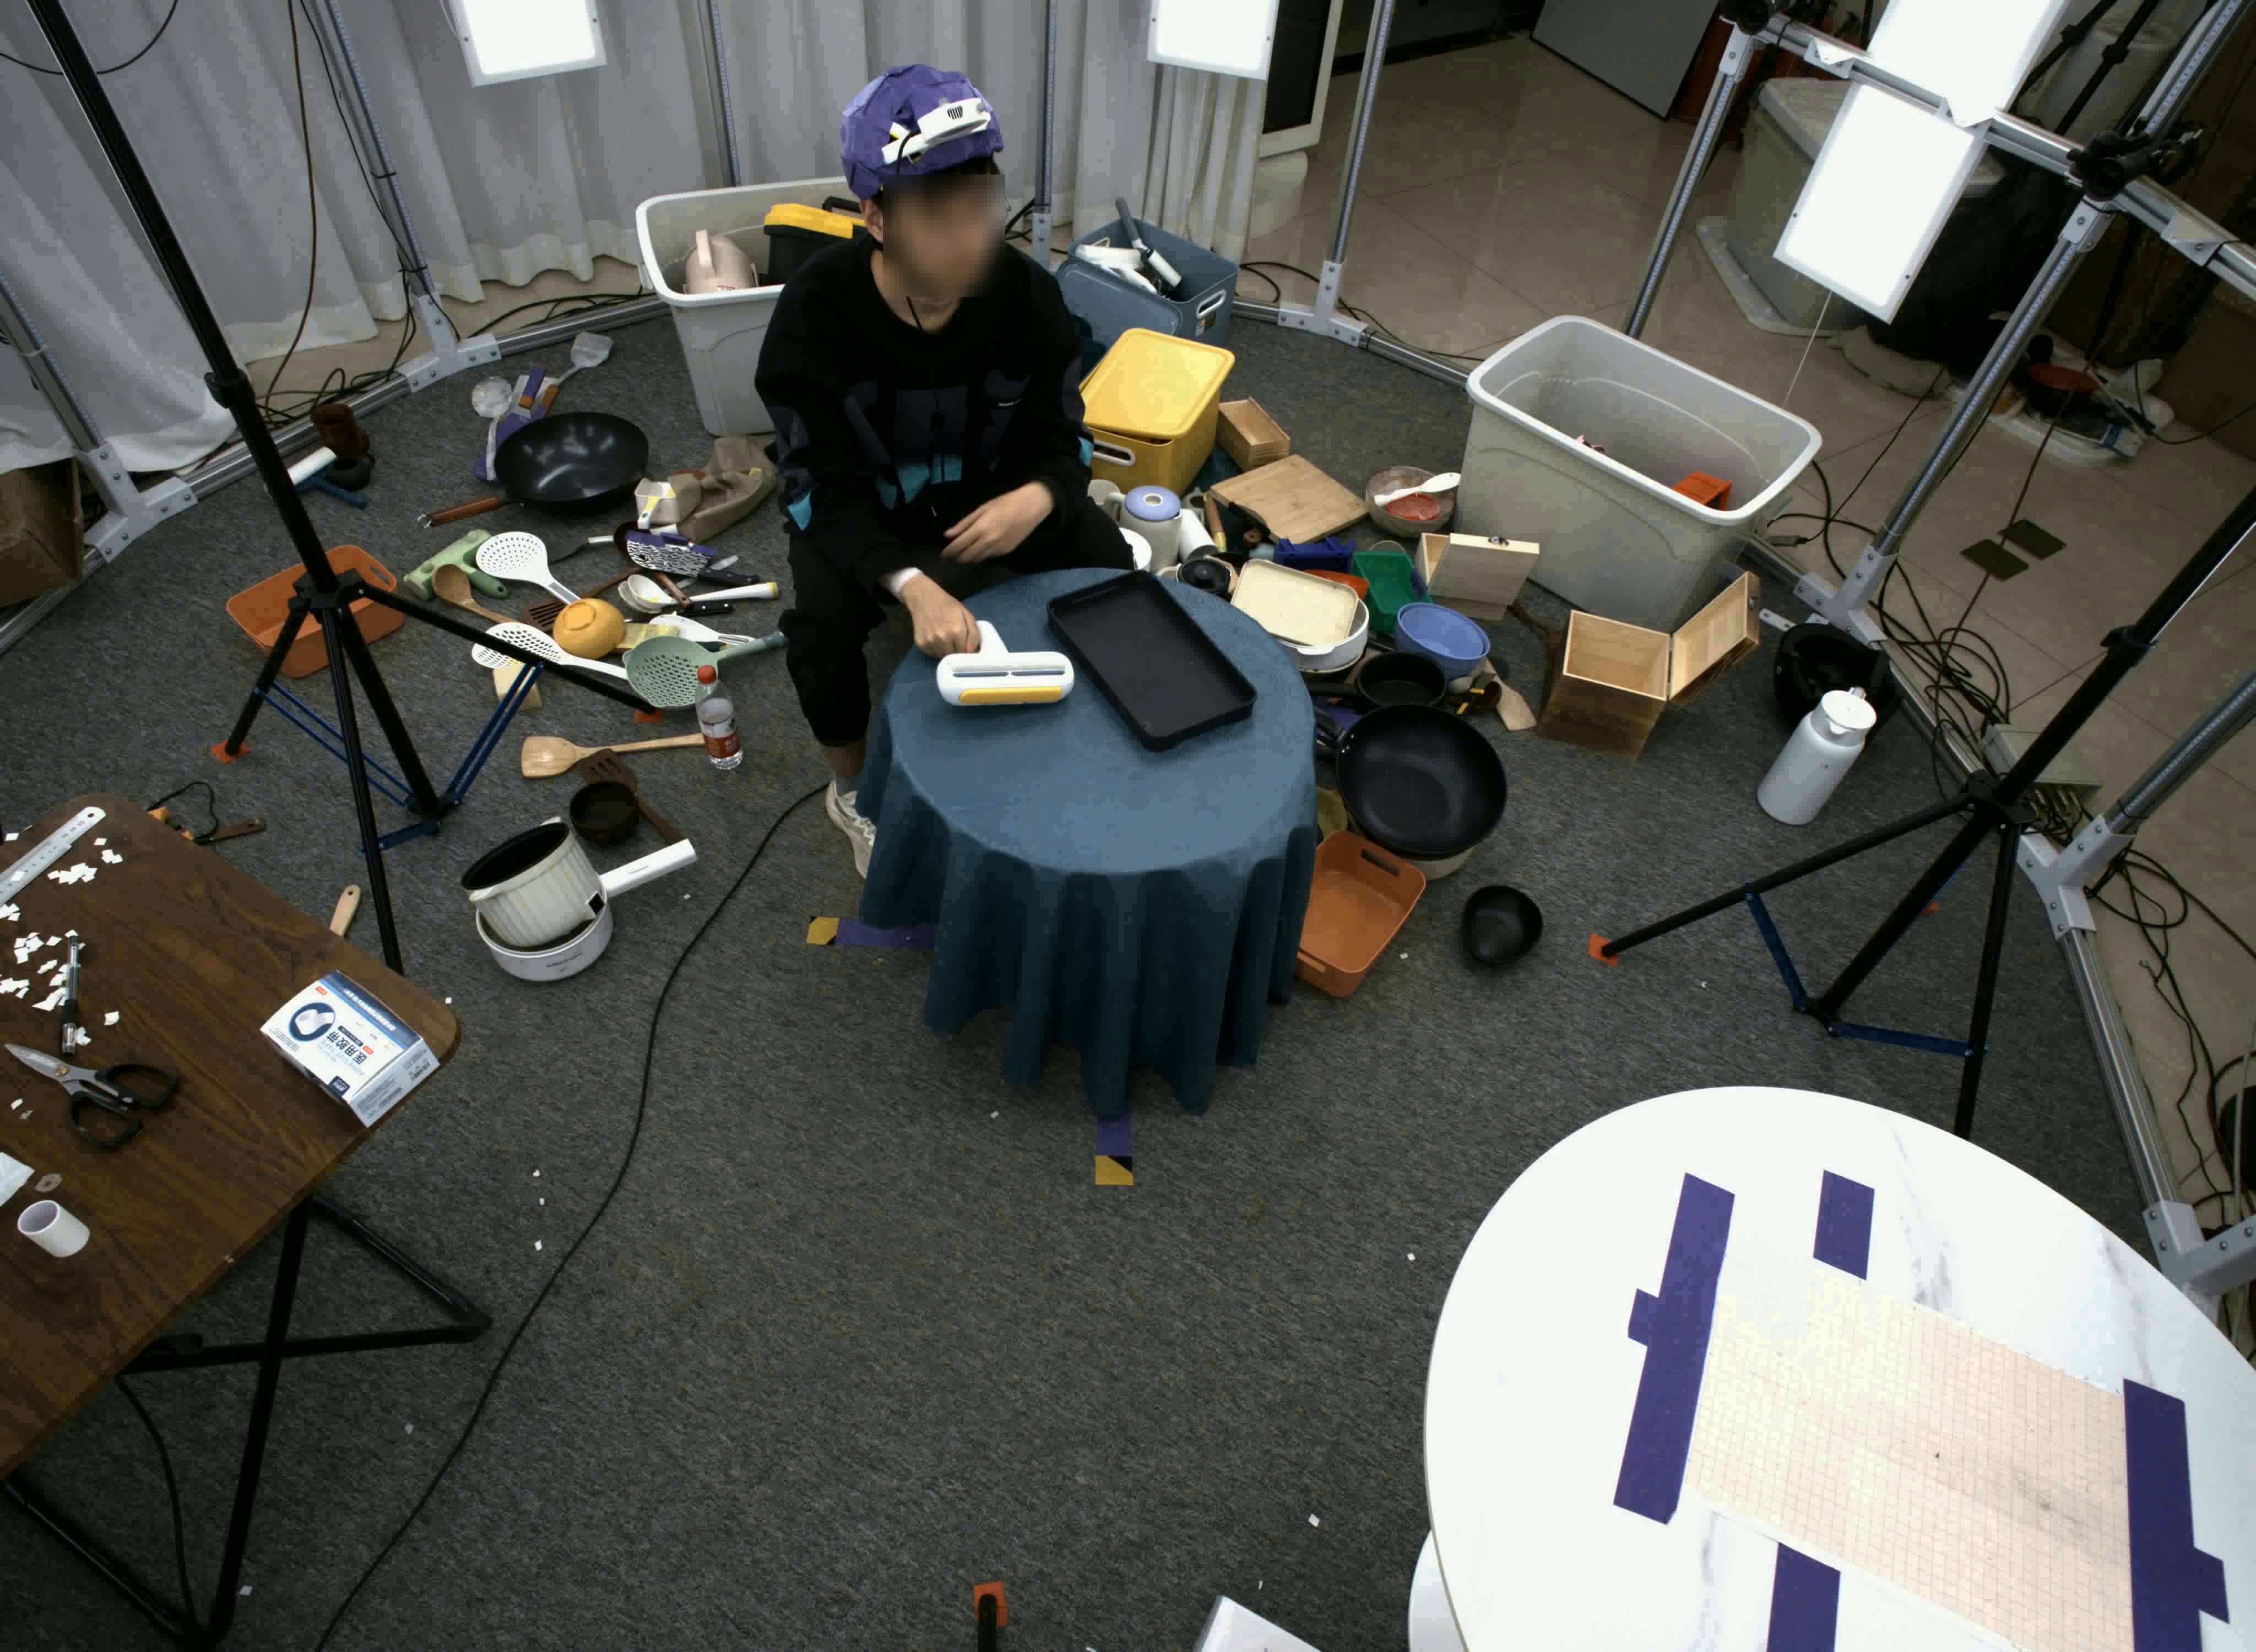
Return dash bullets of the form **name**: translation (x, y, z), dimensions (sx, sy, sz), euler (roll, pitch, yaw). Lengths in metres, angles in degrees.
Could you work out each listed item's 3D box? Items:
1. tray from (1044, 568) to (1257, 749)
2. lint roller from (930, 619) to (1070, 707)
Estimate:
- **tray**: translation (0.029, -0.249, 1.863), dimensions (0.185, 0.036, 0.324), euler (-24, 55, -22)
- **lint roller**: translation (-0.190, -0.242, 1.822), dimensions (0.192, 0.072, 0.197), euler (-4, 48, -14)
